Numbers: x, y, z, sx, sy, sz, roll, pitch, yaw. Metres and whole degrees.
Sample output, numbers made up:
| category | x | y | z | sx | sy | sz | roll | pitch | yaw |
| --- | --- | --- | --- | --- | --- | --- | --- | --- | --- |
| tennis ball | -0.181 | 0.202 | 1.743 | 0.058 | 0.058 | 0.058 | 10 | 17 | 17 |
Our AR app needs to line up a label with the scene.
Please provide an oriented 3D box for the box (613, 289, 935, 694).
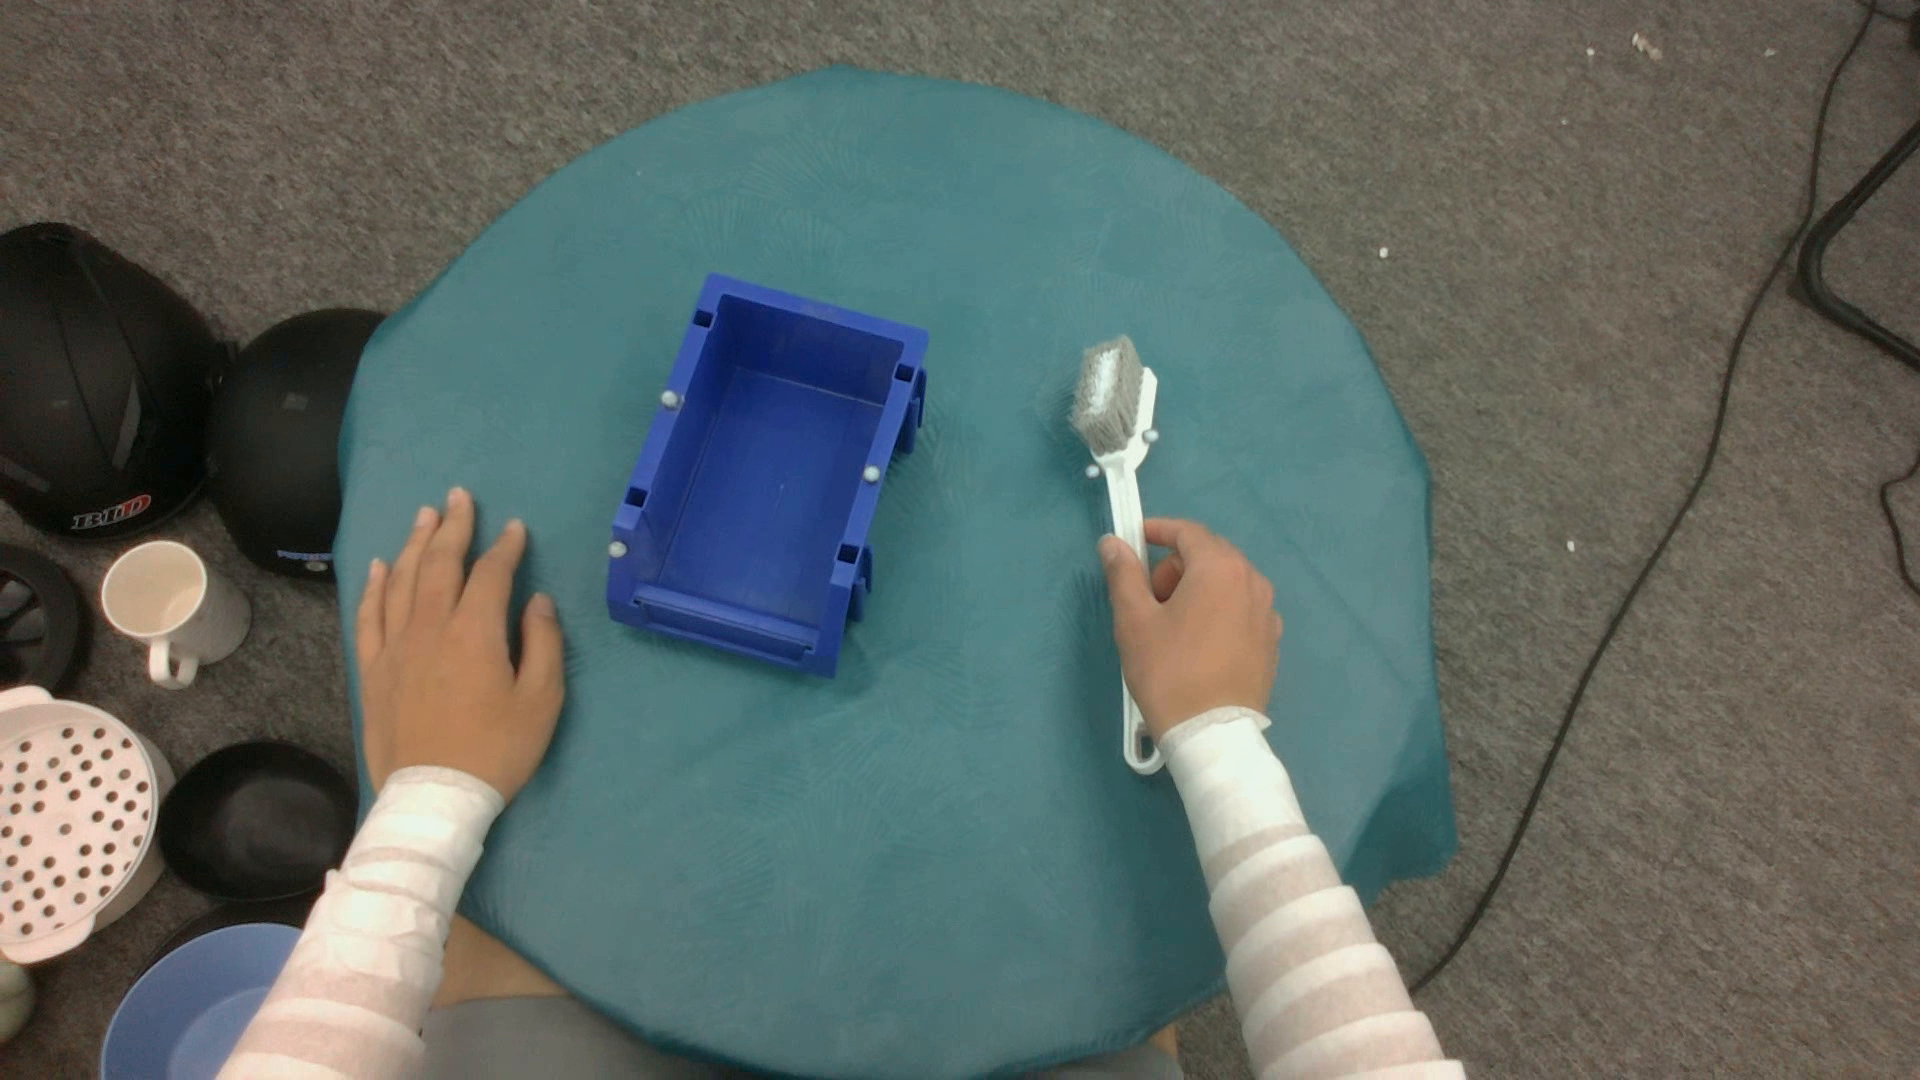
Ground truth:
| category | x | y | z | sx | sy | sz | roll | pitch | yaw |
| --- | --- | --- | --- | --- | --- | --- | --- | --- | --- |
| box | -0.095 | -0.023 | 0.730 | 0.124 | 0.081 | 0.180 | 16 | 68 | 1 |

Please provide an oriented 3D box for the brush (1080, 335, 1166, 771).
| category | x | y | z | sx | sy | sz | roll | pitch | yaw |
| --- | --- | --- | --- | --- | --- | --- | --- | --- | --- |
| brush | 0.090 | 0.001 | 0.749 | 0.034 | 0.050 | 0.244 | -13 | 65 | 34 |
